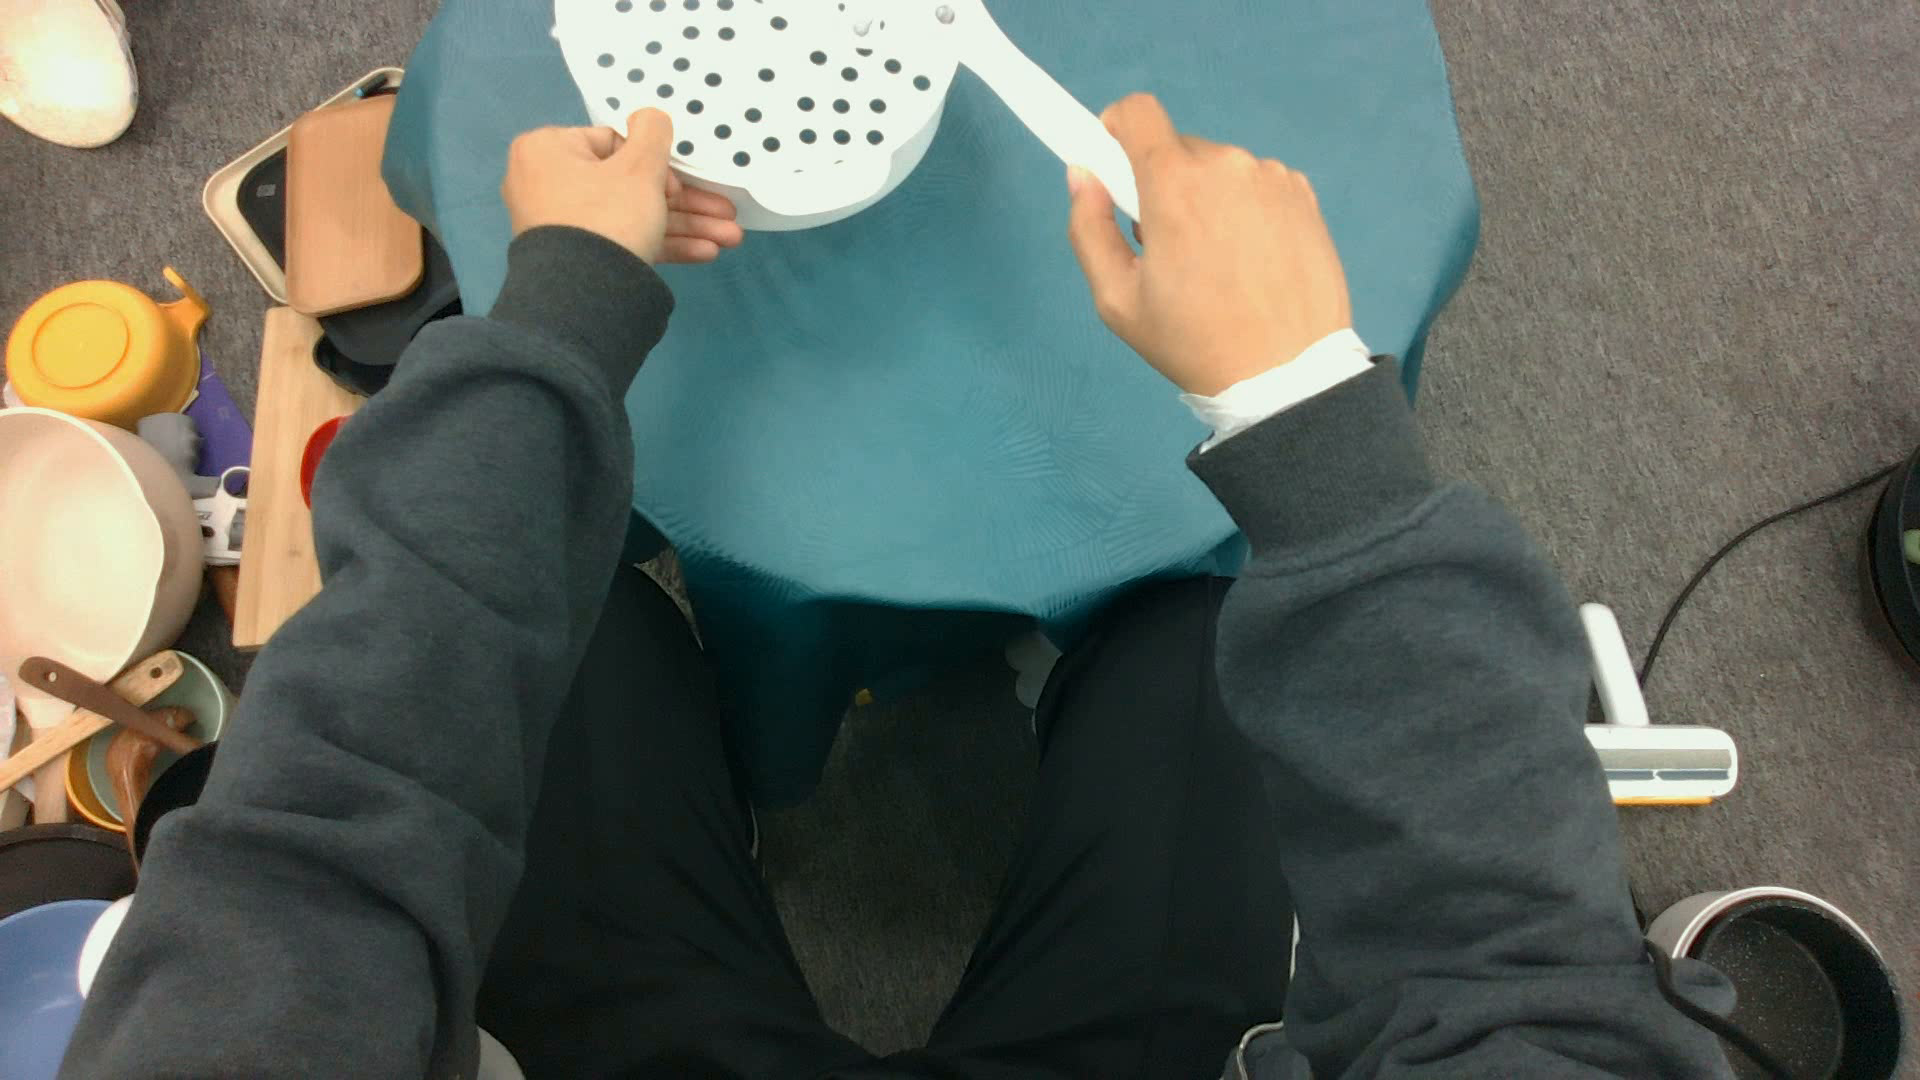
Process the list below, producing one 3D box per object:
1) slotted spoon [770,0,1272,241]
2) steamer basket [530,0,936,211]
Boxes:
[{"bbox_3d":[0.001,-0.235,0.581,0.050,0.136,0.348,-10,54,-44],"label":"slotted spoon"},{"bbox_3d":[-0.116,-0.269,0.718,0.202,0.069,0.231,-17,75,-12],"label":"steamer basket"}]
